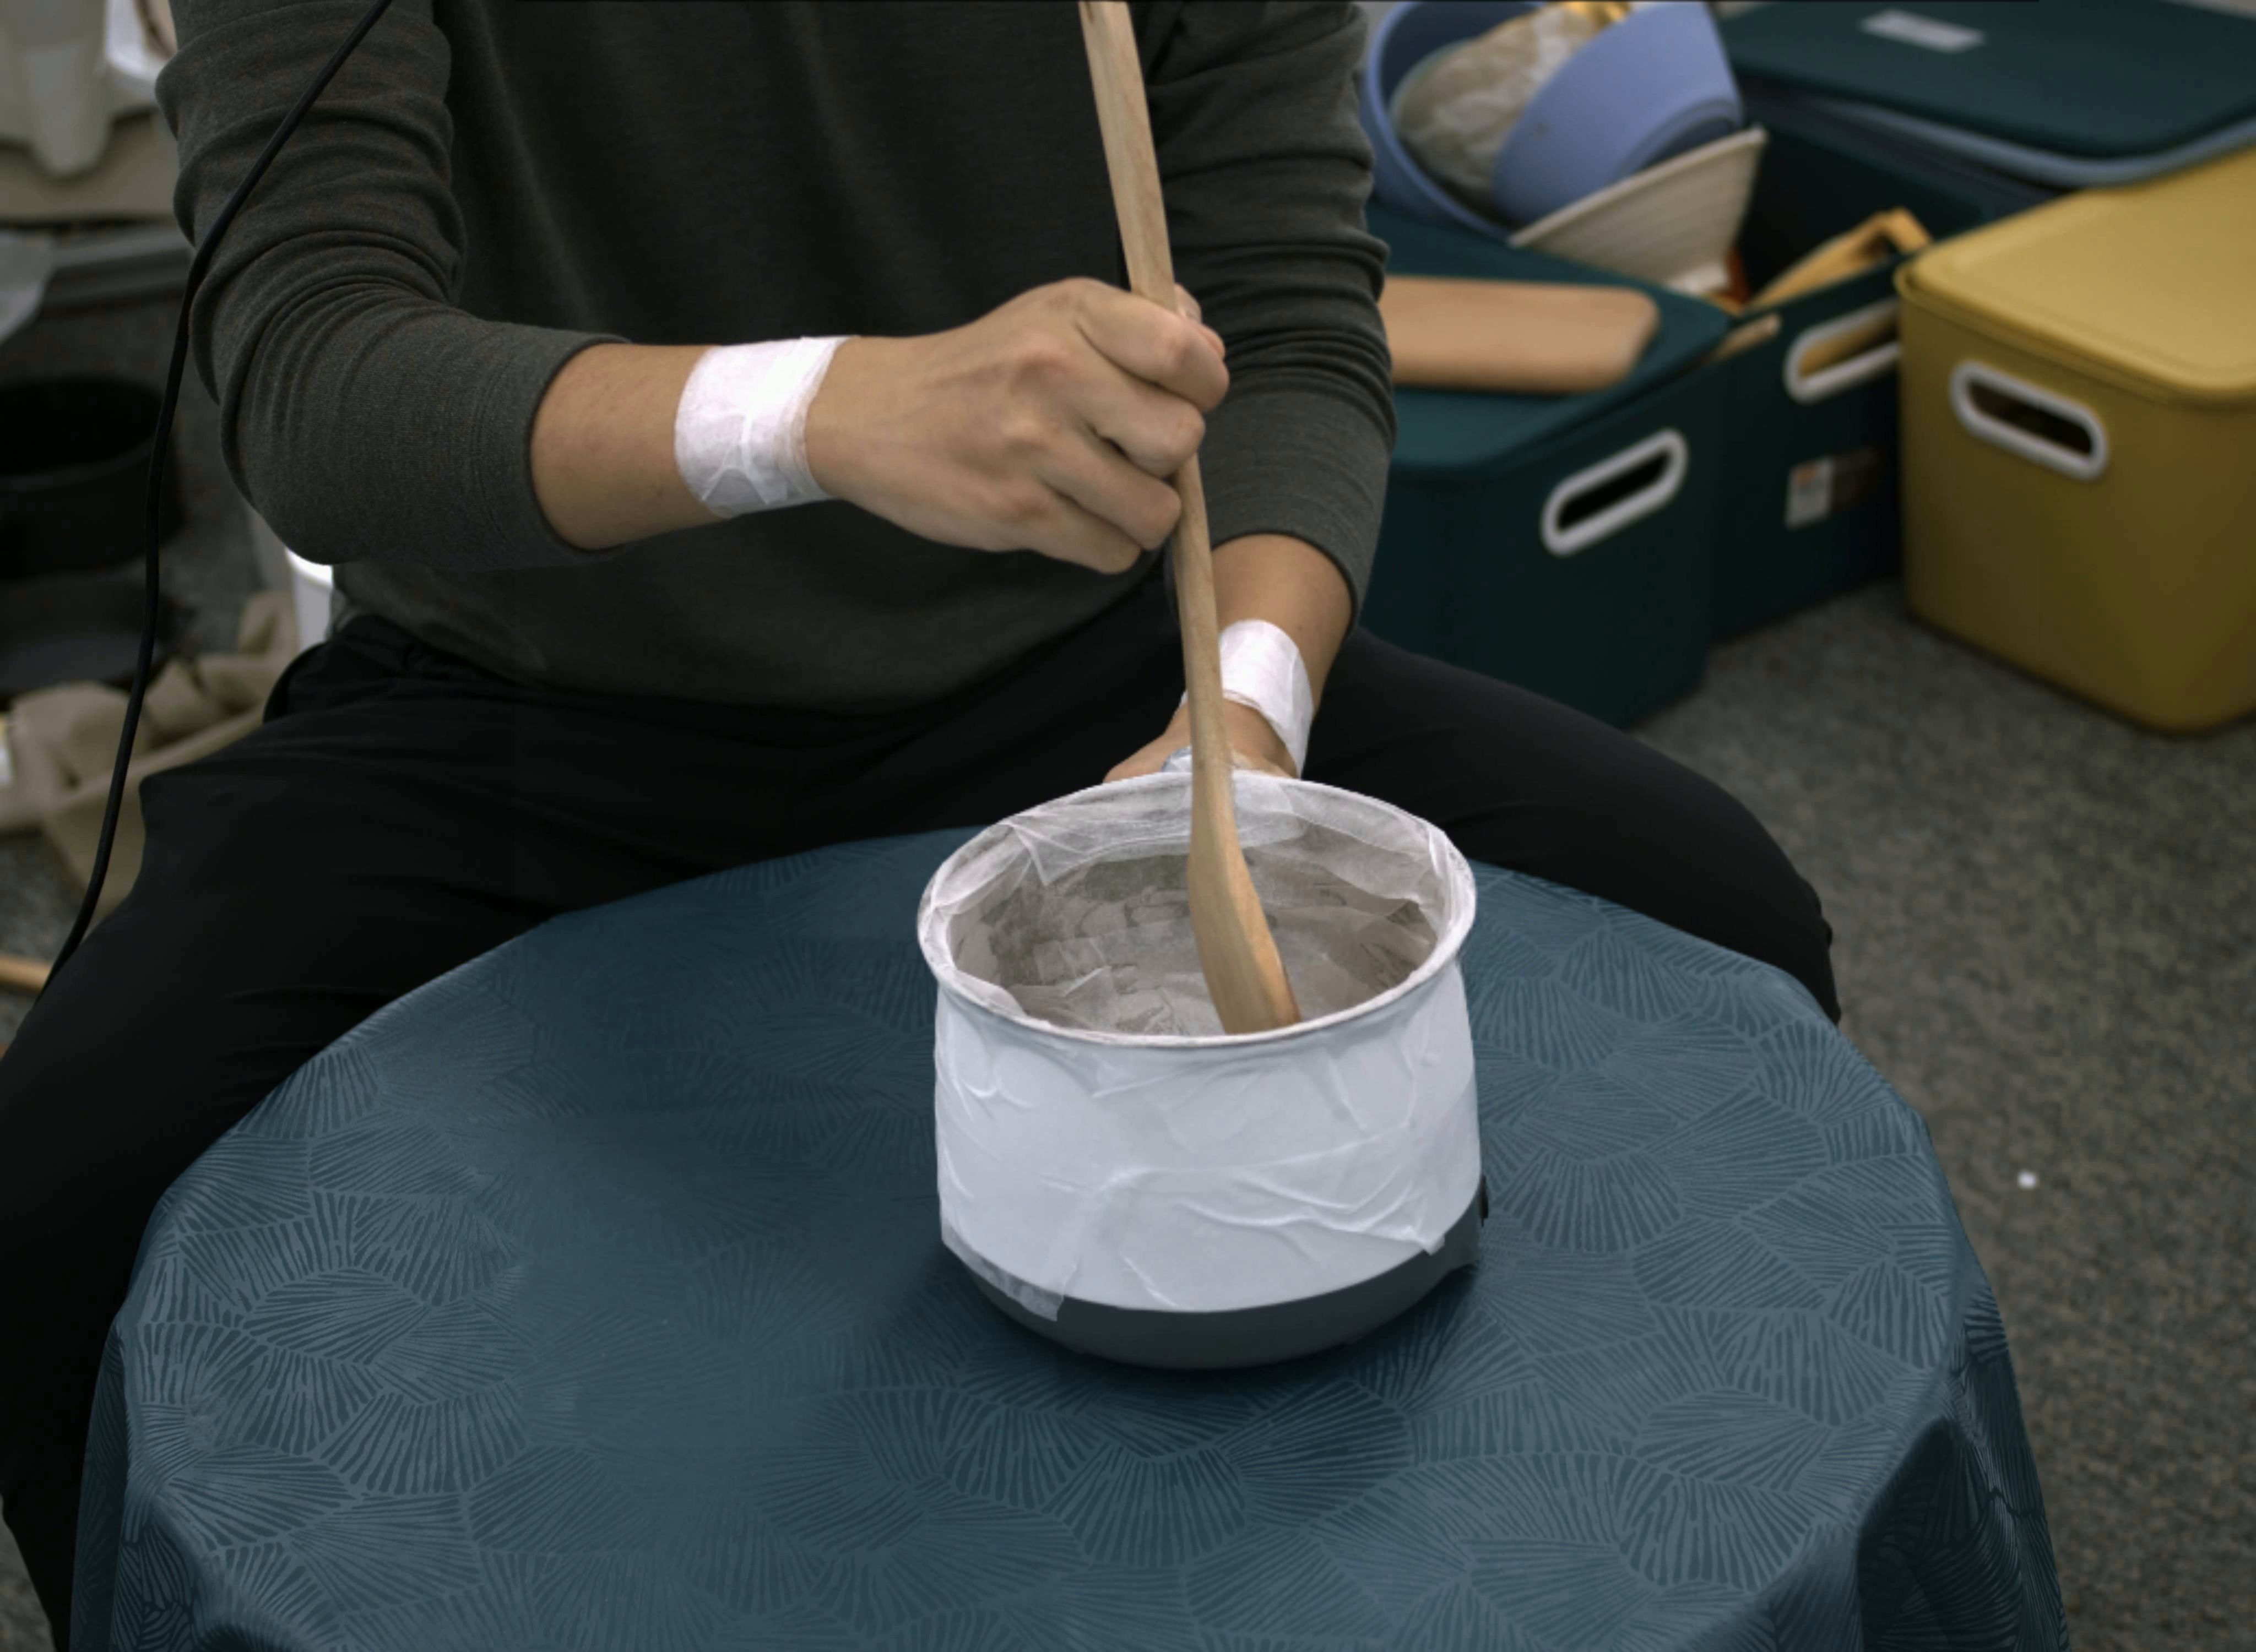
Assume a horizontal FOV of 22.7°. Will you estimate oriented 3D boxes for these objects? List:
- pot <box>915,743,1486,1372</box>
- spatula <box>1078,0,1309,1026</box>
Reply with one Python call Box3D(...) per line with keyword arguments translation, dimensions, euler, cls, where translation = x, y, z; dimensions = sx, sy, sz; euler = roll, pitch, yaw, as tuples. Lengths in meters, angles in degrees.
Box3D(translation=(0.024, 0.067, 1.818), dimensions=(0.178, 0.135, 0.237), euler=(-3, 27, 0), cls="pot")
Box3D(translation=(0.021, -0.080, 1.724), dimensions=(0.018, 0.388, 0.096), euler=(-13, 19, -14), cls="spatula")
